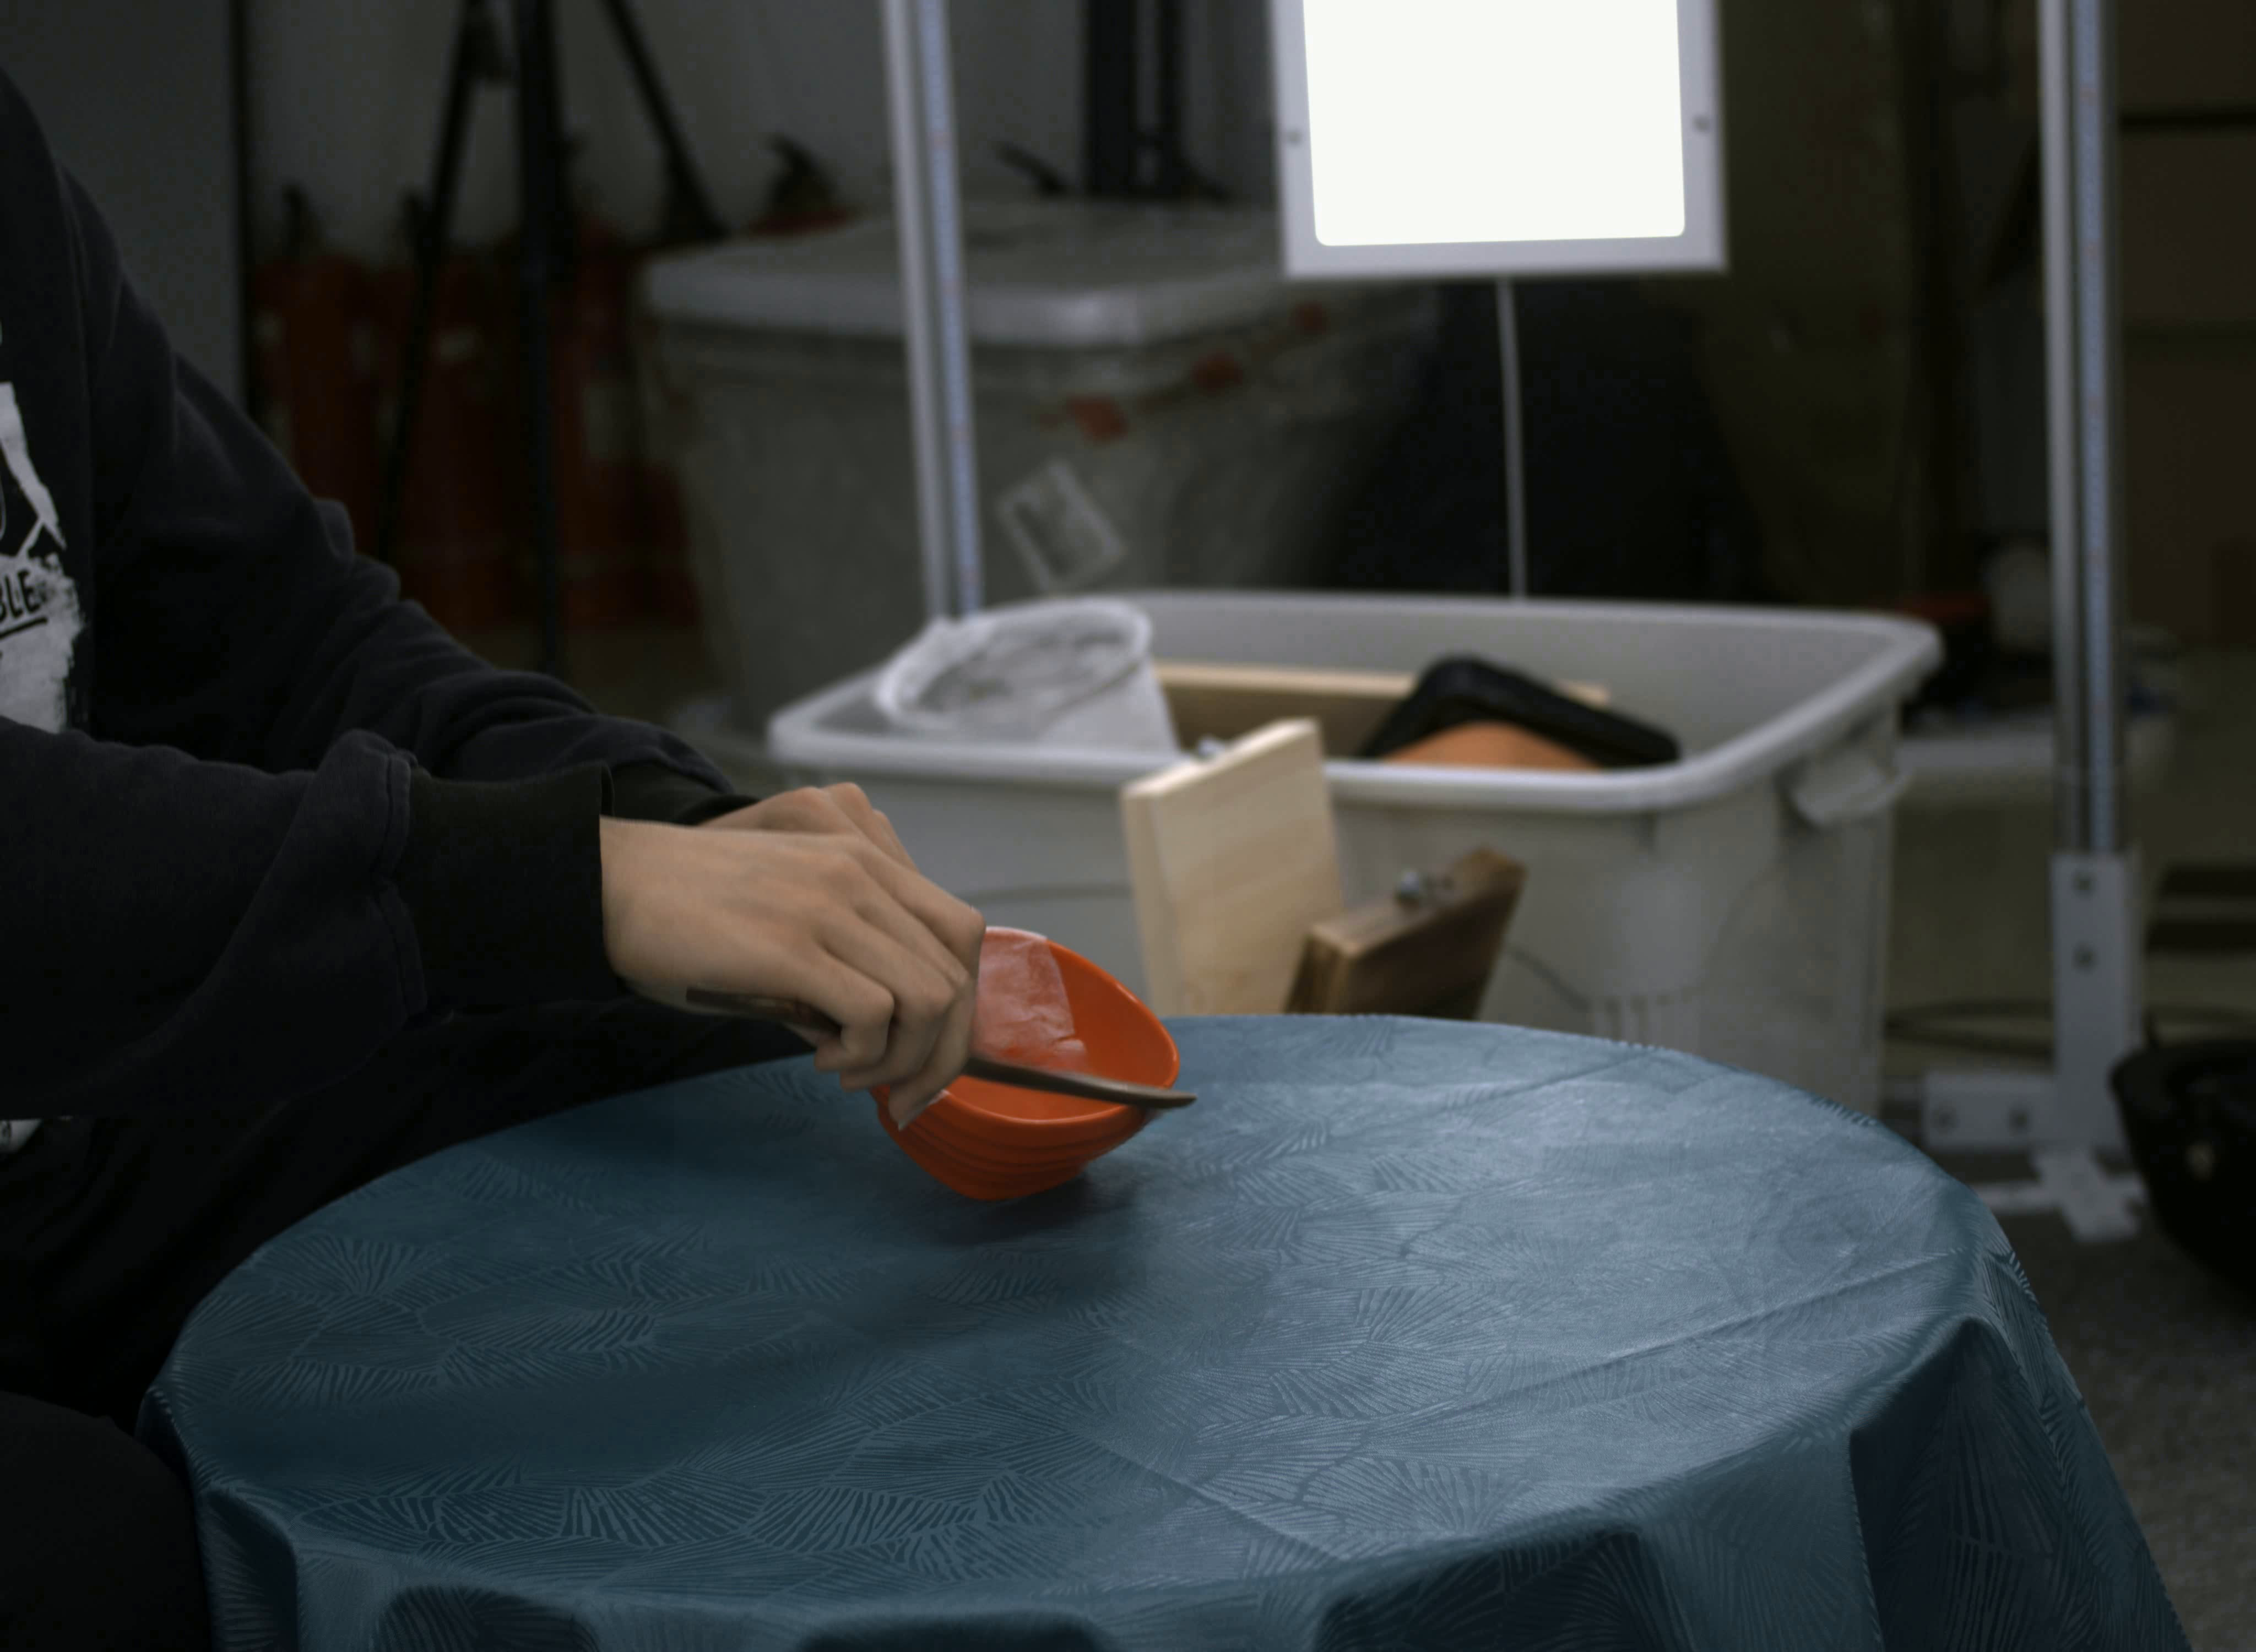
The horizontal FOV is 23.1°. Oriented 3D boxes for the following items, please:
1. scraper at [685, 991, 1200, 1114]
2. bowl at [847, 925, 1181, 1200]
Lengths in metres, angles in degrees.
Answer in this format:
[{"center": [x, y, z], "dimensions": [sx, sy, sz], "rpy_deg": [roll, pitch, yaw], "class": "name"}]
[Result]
[{"center": [-0.064, 0.073, 1.747], "dimensions": [0.077, 0.011, 0.206], "rpy_deg": [6, -8, 40], "class": "scraper"}, {"center": [-0.045, 0.088, 1.914], "dimensions": [0.118, 0.052, 0.118], "rpy_deg": [12, 31, -9], "class": "bowl"}]
